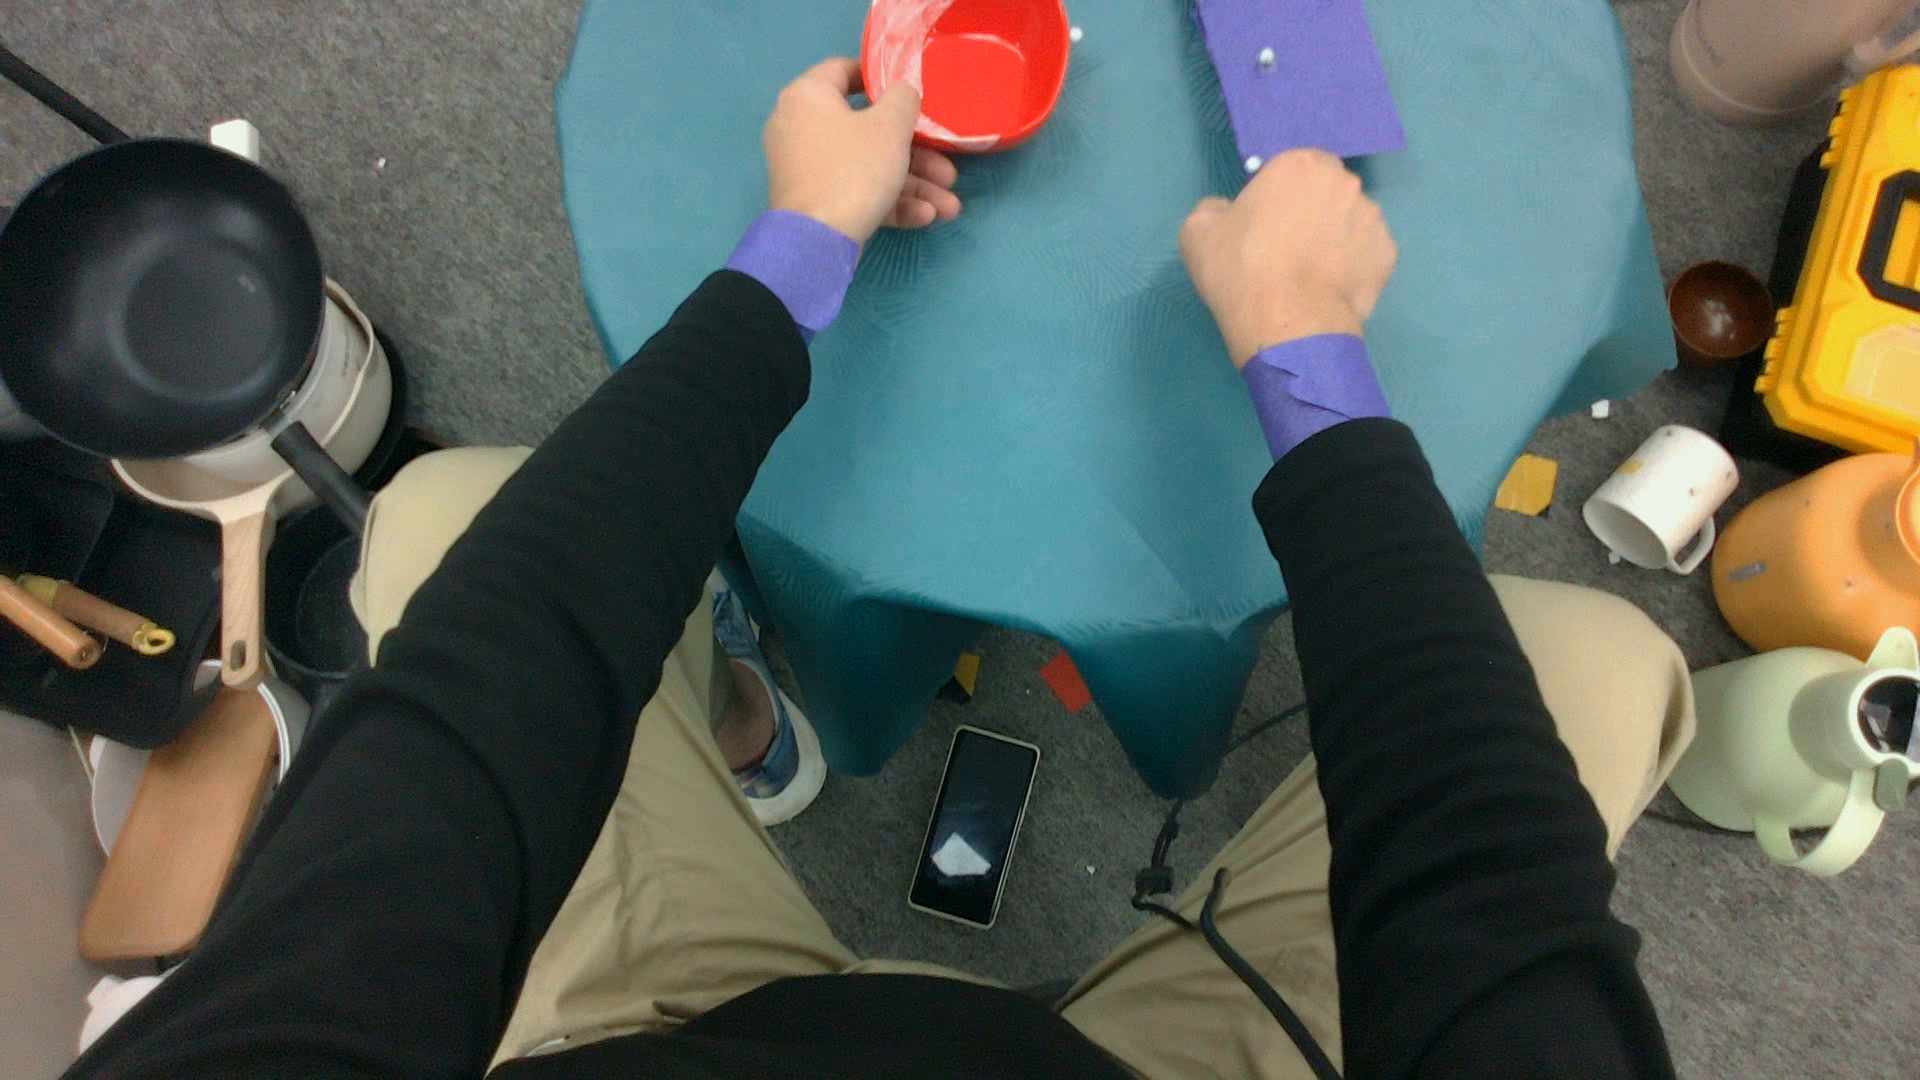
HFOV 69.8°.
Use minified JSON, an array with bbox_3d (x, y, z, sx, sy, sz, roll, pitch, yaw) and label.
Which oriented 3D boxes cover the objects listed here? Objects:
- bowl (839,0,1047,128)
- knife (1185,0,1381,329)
[{"bbox_3d":[-0.009,-0.268,0.750,0.119,0.051,0.119,0,75,0],"label":"bowl"},{"bbox_3d":[0.171,-0.261,0.739,0.104,0.032,0.316,-9,71,-8],"label":"knife"}]
